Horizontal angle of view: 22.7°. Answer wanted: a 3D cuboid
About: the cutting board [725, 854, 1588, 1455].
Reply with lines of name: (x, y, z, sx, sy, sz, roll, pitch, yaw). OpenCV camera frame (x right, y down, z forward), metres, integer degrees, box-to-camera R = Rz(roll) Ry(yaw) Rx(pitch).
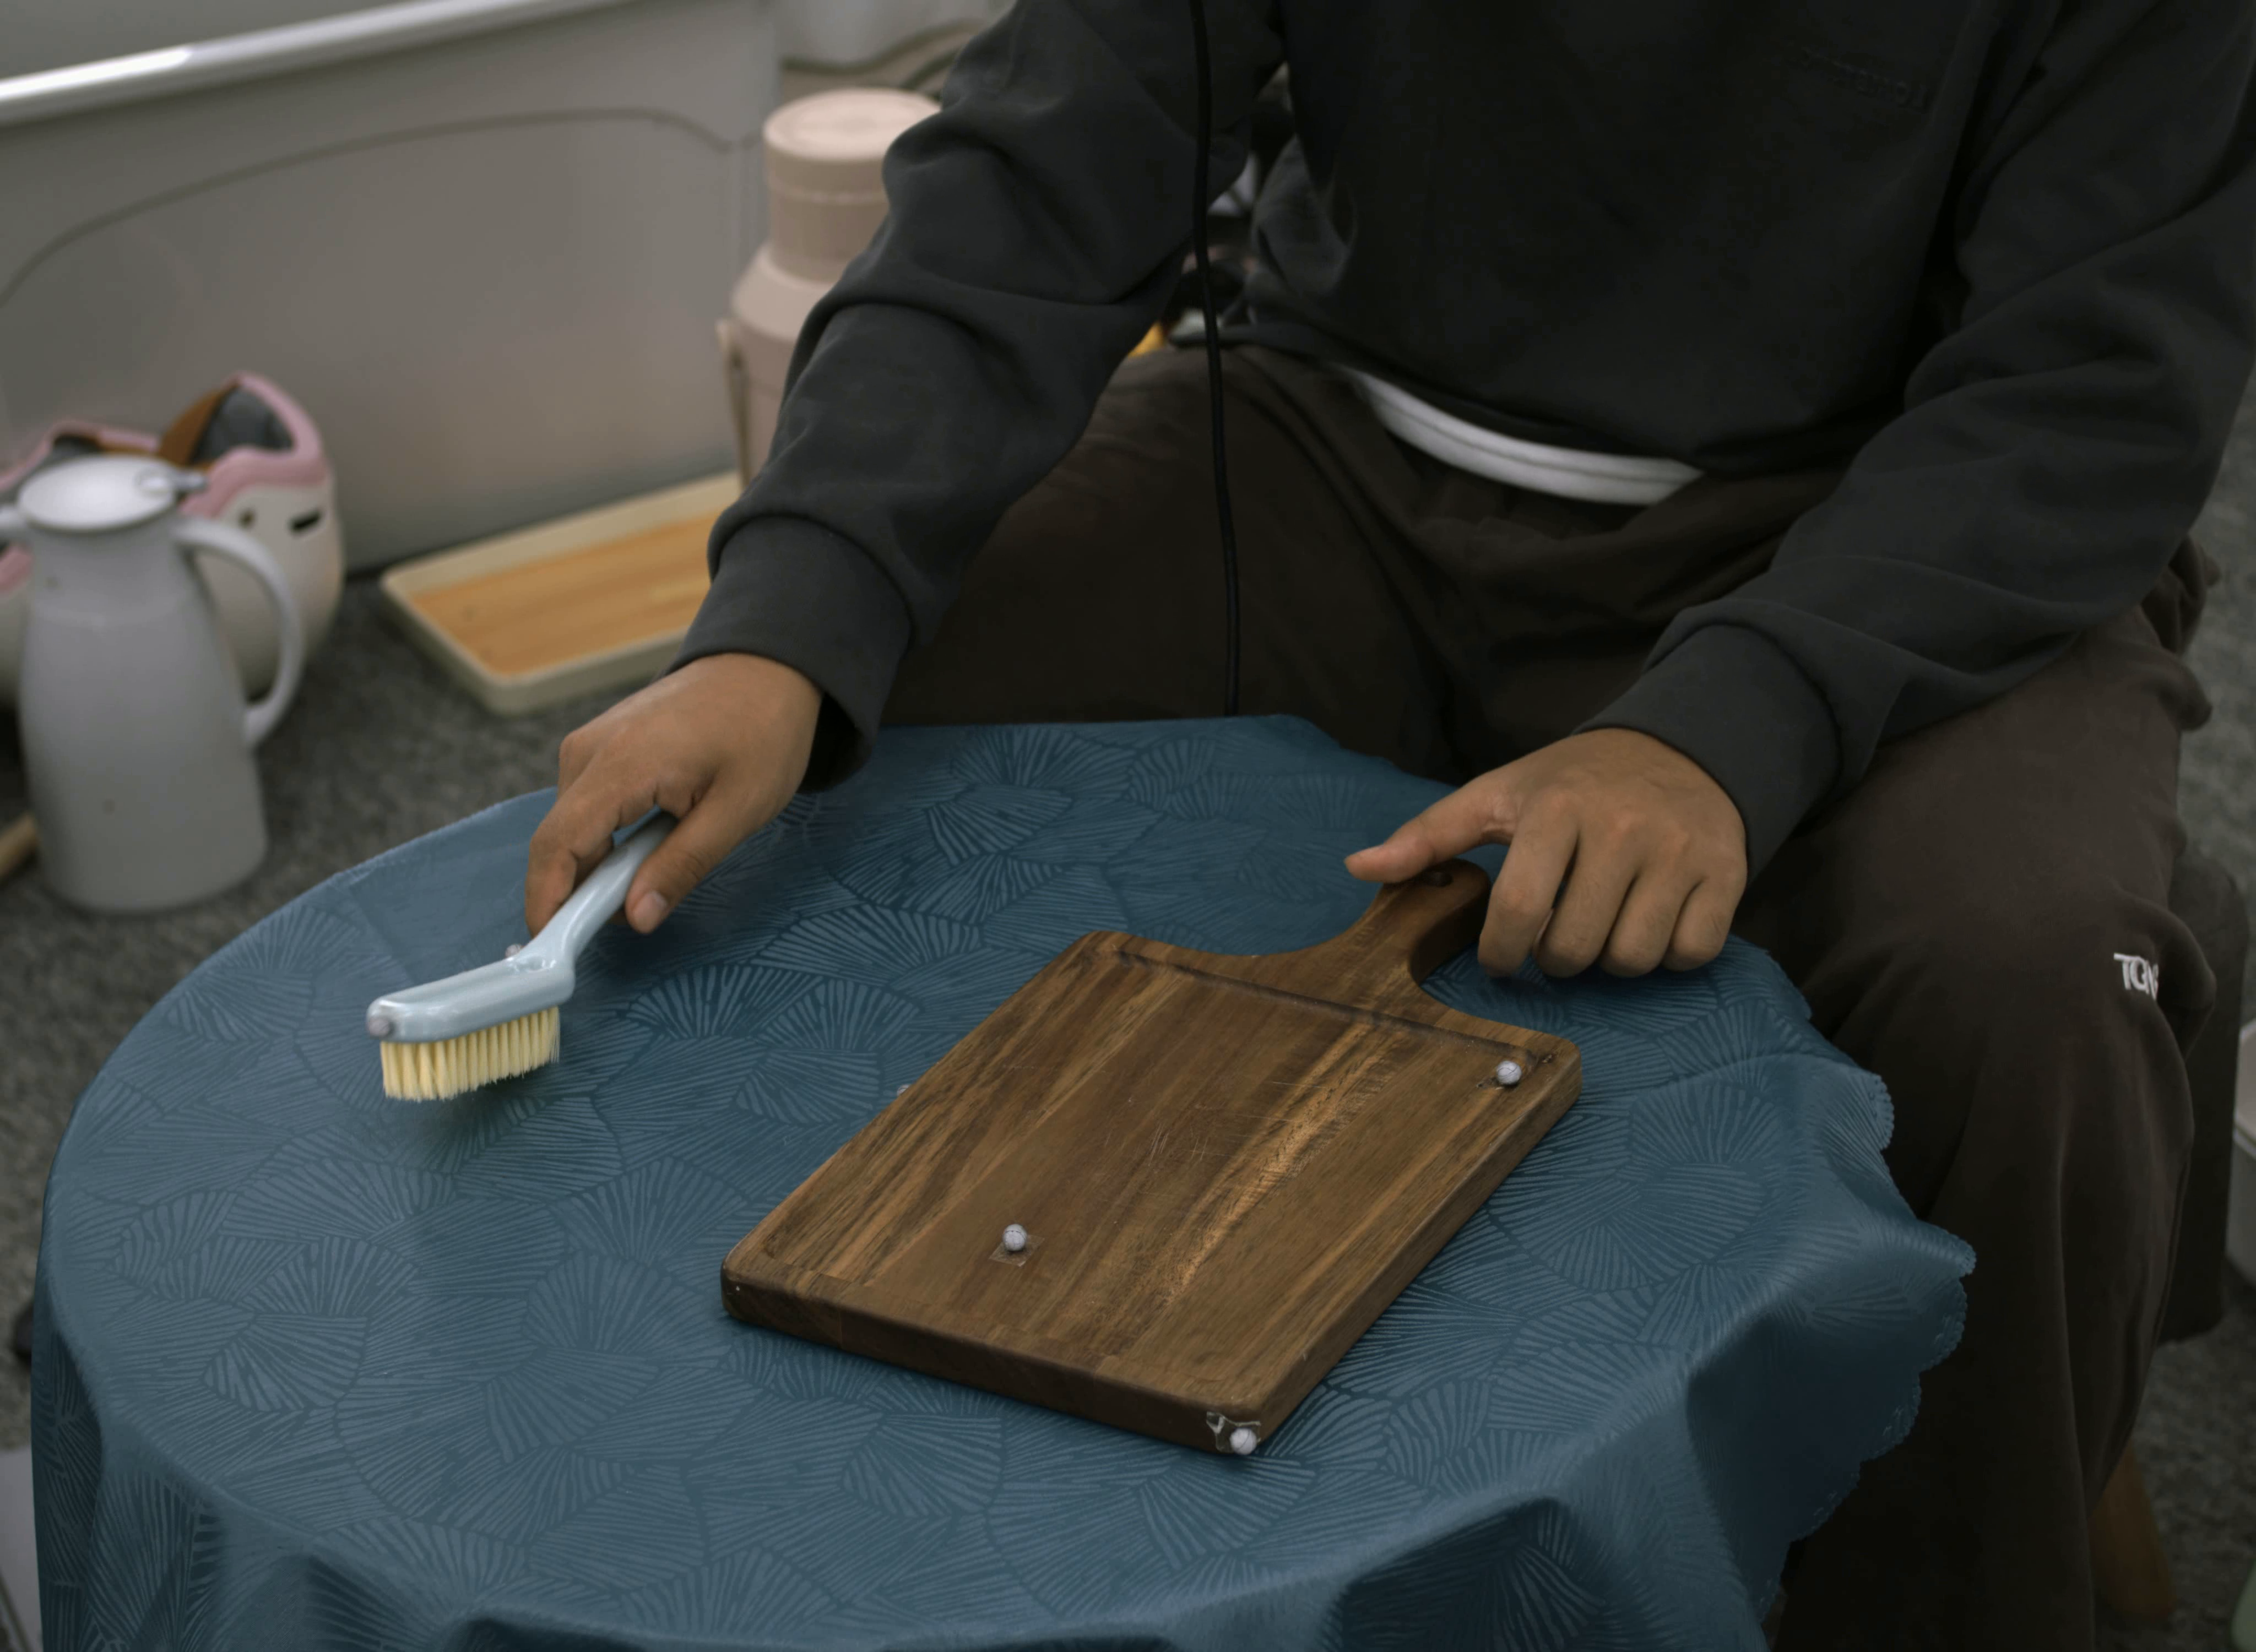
cutting board: (0.037, 0.094, 1.892, 0.200, 0.023, 0.358, 13, 31, 27)

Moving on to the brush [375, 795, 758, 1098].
brush: (-0.194, 0.043, 1.988, 0.037, 0.049, 0.232, 3, 23, 26)
